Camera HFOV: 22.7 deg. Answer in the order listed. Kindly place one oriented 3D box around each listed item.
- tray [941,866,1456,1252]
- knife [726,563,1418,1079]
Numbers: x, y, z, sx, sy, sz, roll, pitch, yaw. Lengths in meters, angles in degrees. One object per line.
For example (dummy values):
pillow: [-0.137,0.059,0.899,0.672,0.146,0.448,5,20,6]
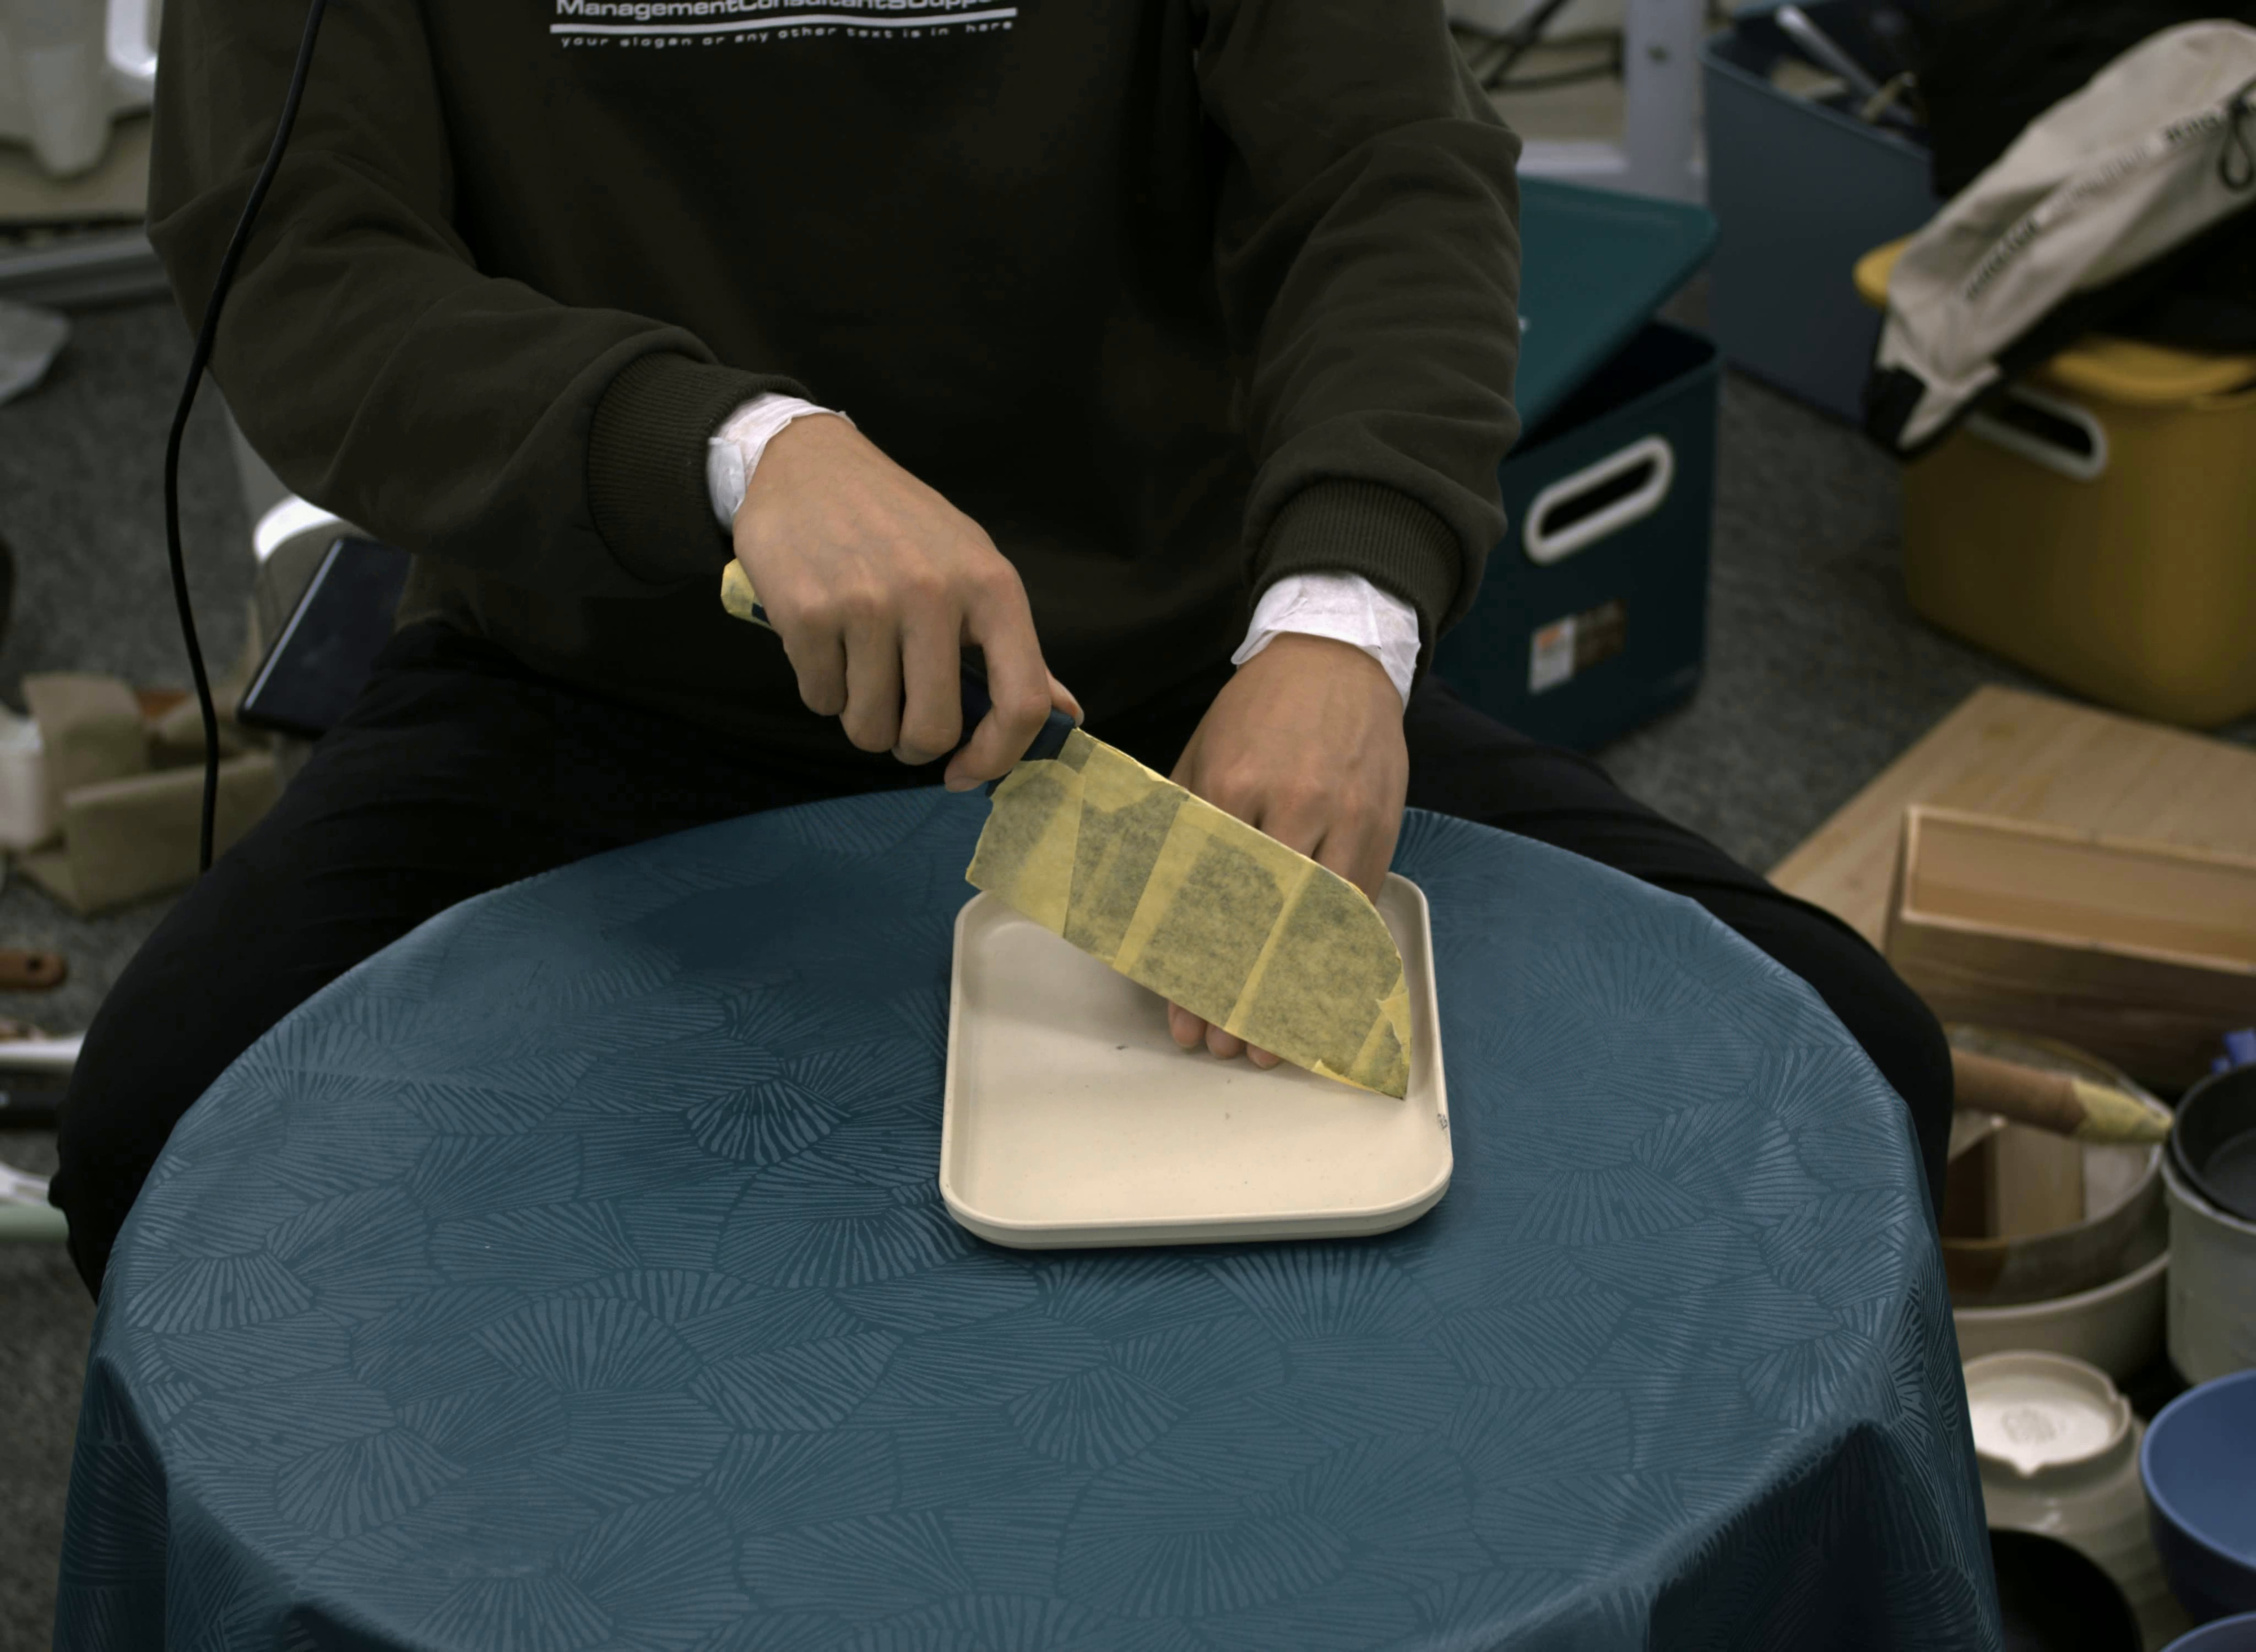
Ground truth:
tray: [0.023,0.079,1.924,0.170,0.017,0.243,-3,27,1]
knife: [-0.022,-0.001,1.922,0.289,0.080,0.027,33,22,12]
